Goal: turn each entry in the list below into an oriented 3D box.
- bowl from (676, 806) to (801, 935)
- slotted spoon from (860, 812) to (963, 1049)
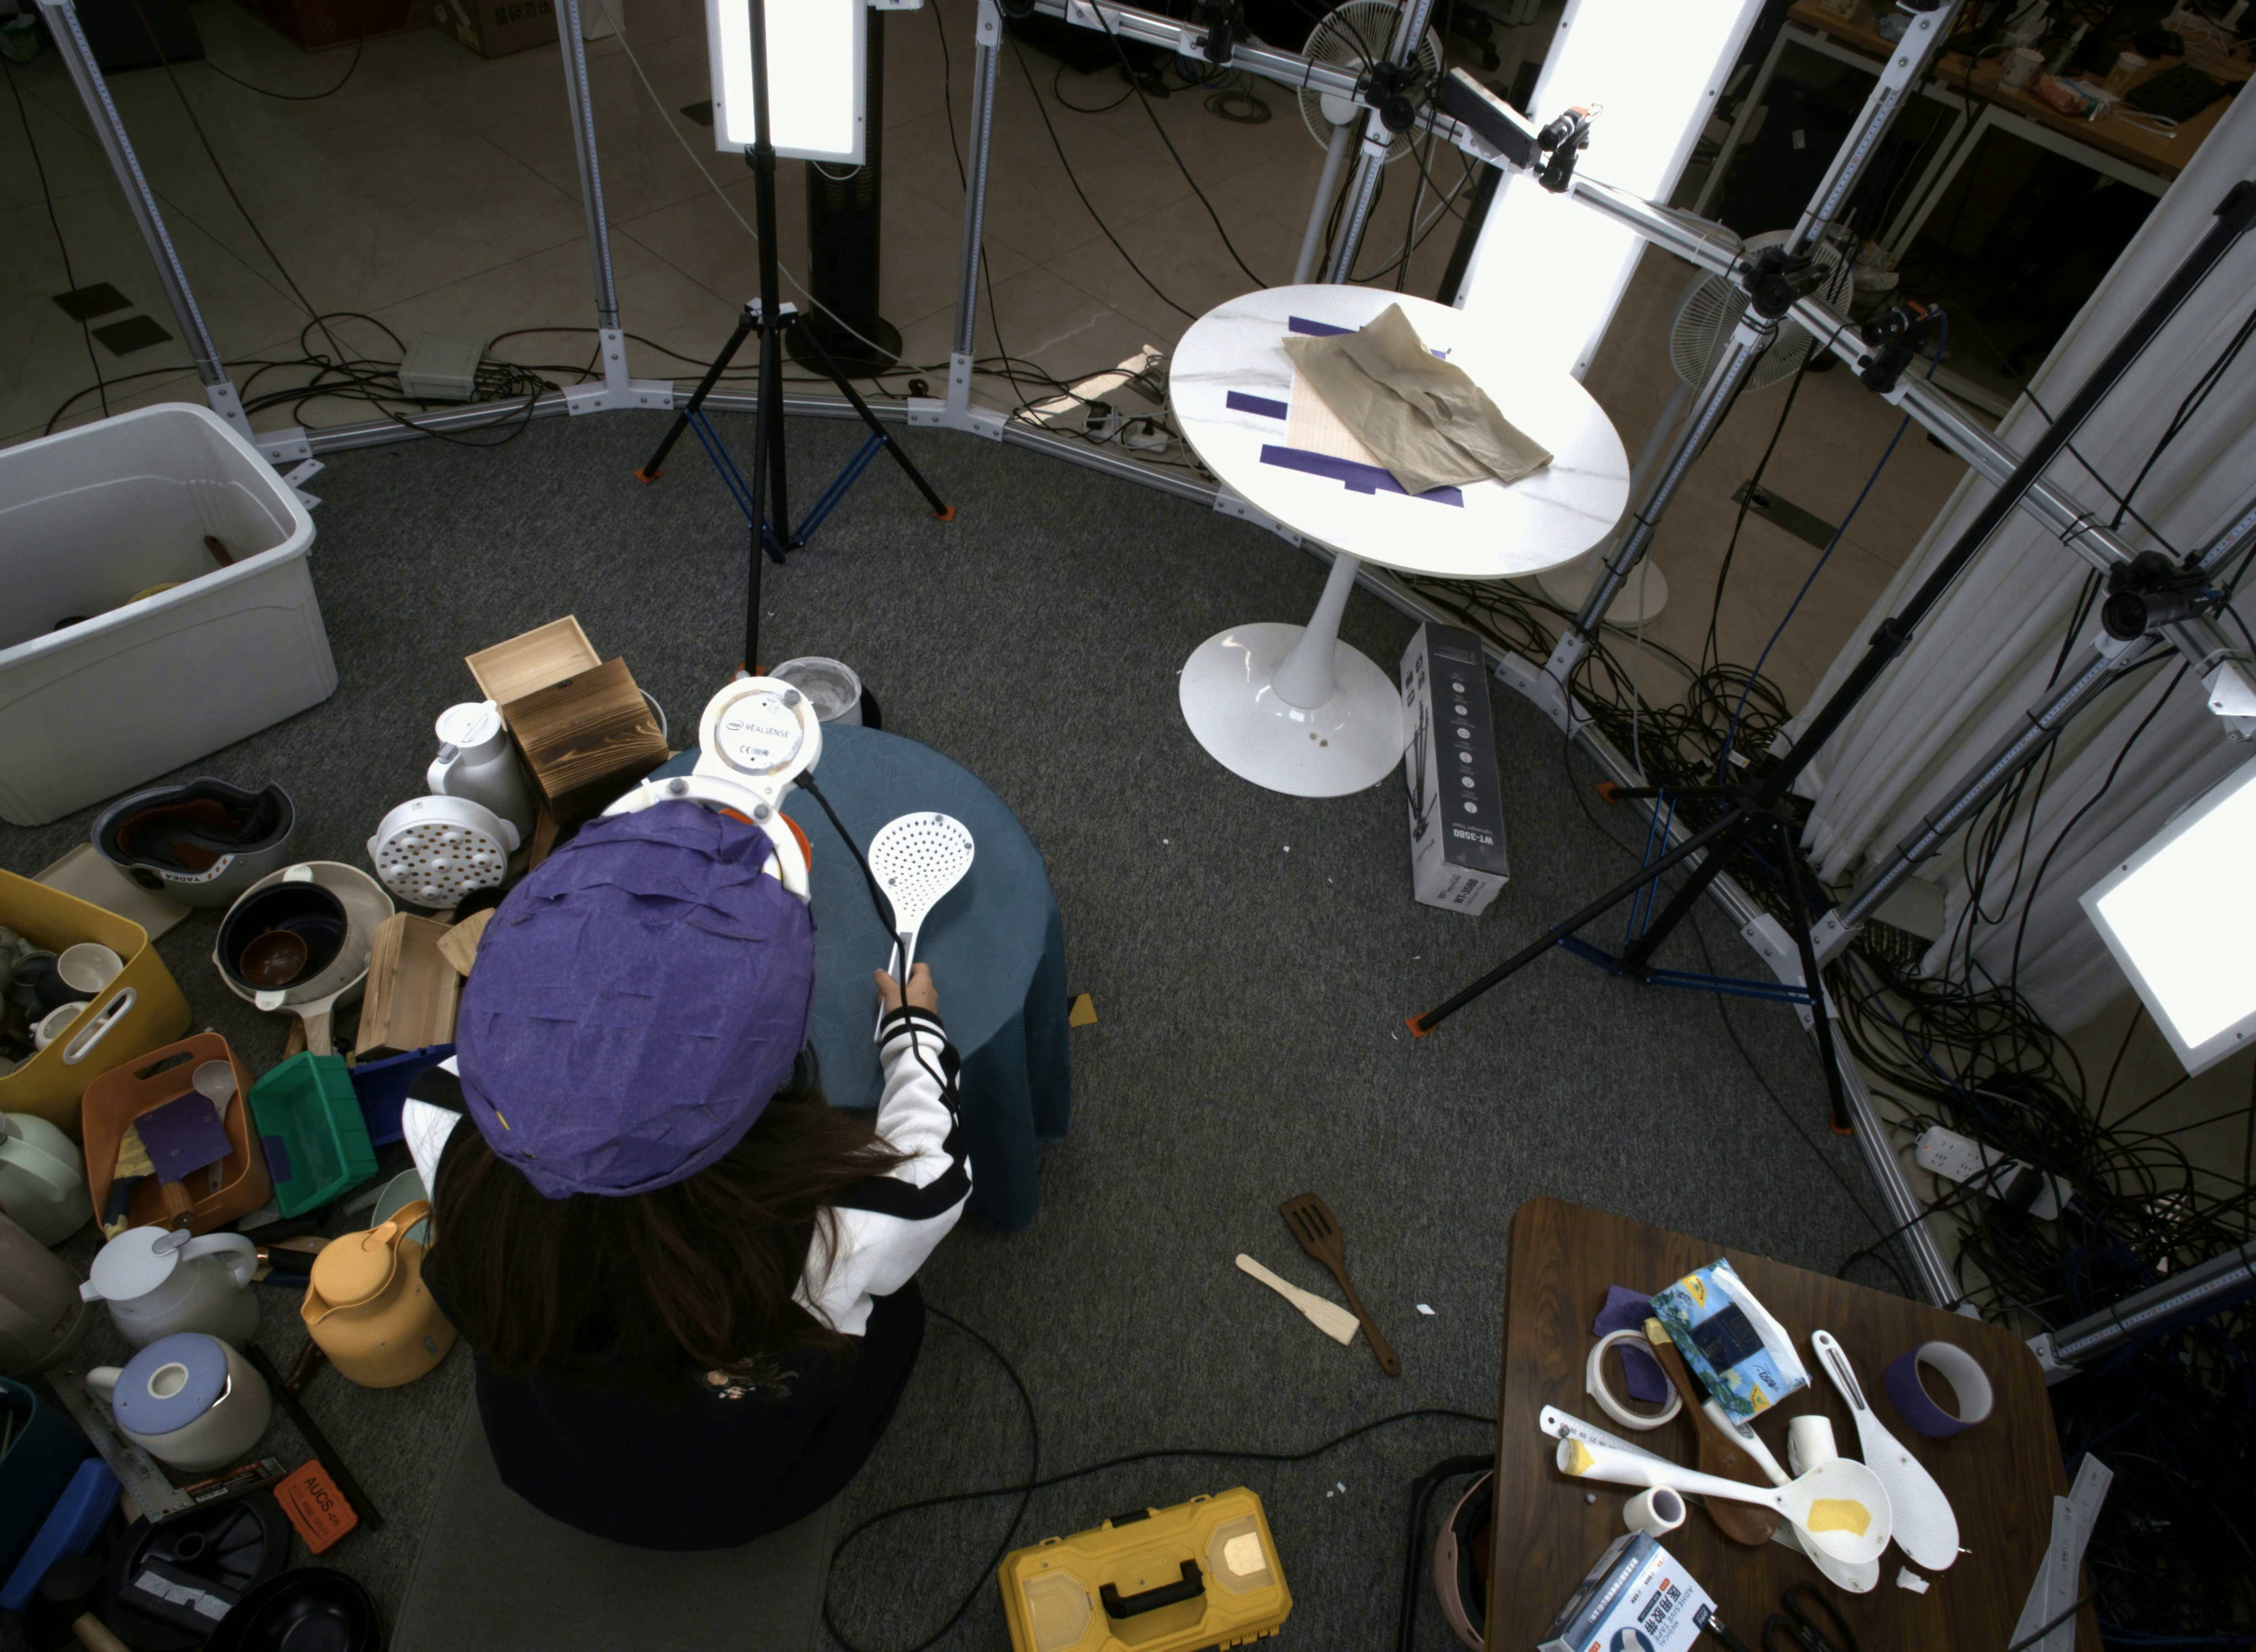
[{"bbox_3d":[-0.476,0.065,1.590,0.148,0.107,0.145,7,52,-8],"label":"bowl"},{"bbox_3d":[-0.284,0.121,1.620,0.134,0.047,0.343,2,47,1],"label":"slotted spoon"}]
